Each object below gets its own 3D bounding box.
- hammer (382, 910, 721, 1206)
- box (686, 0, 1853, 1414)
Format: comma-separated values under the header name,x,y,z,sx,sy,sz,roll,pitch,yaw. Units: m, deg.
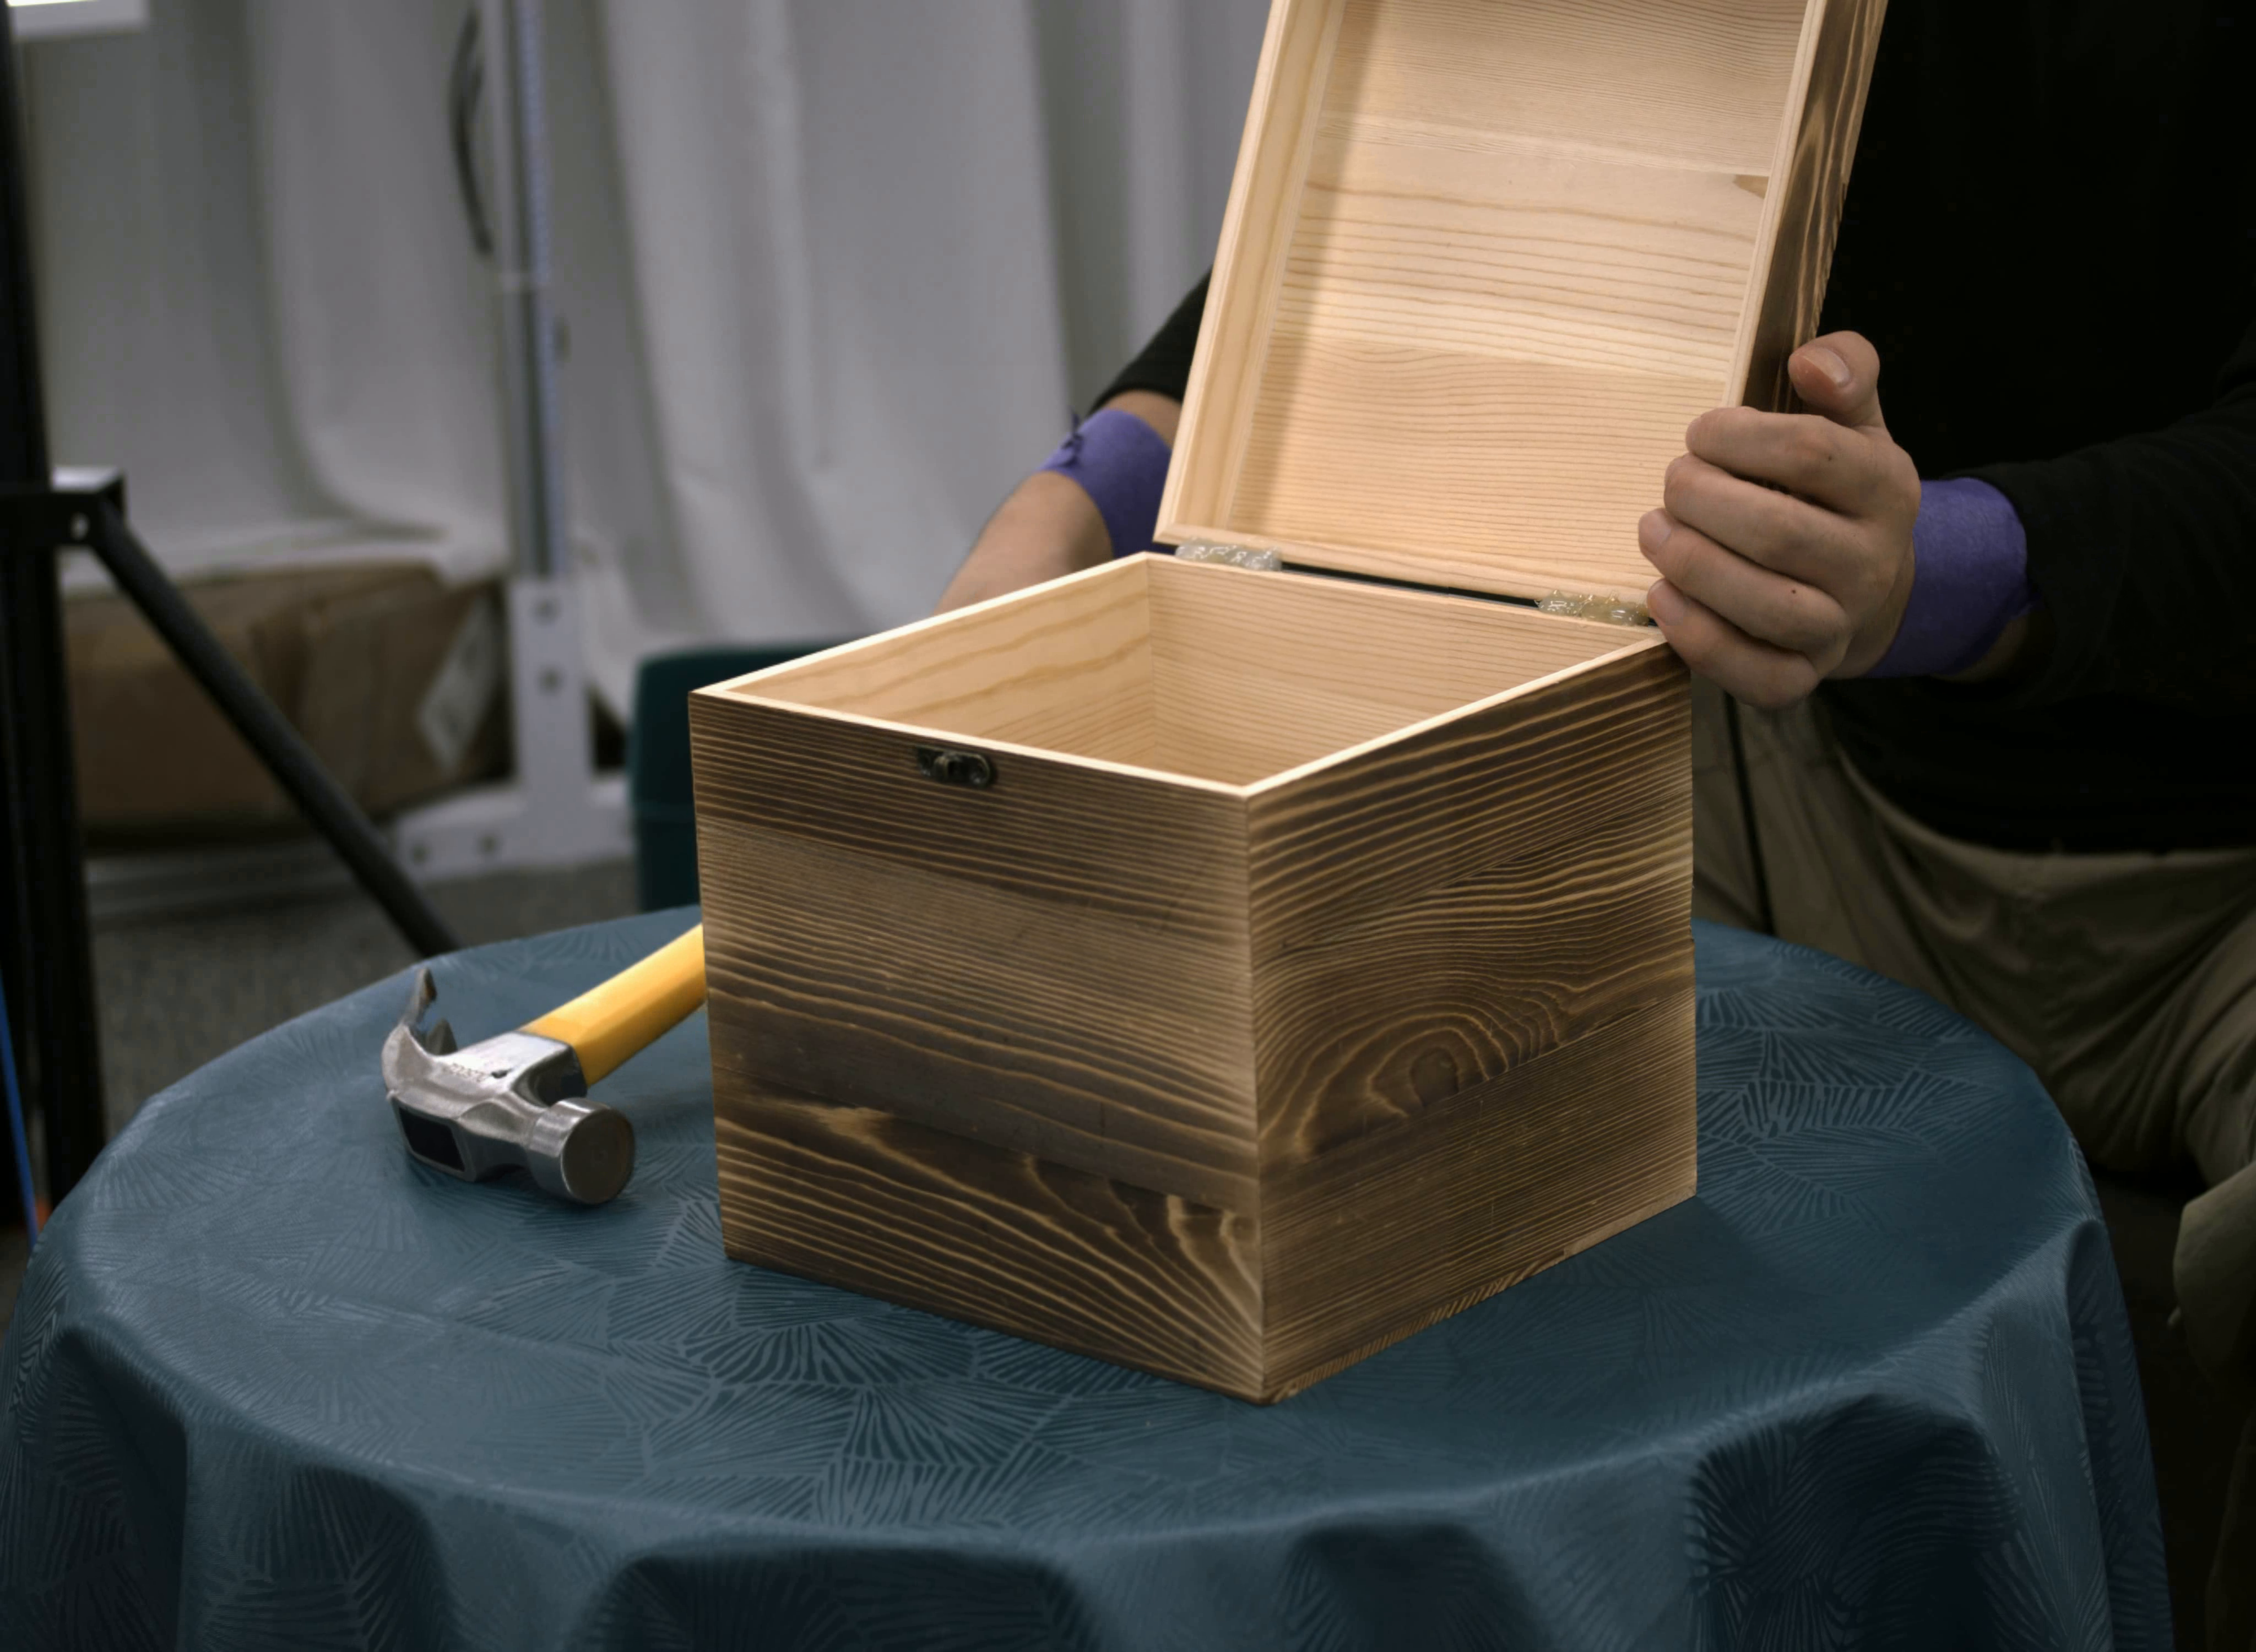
name,x,y,z,sx,sy,sz,roll,pitch,yaw
hammer,-0.094,0.017,1.691,0.333,0.032,0.134,-33,30,-33
box,0.050,-0.068,1.515,0.213,0.375,0.315,10,19,40
